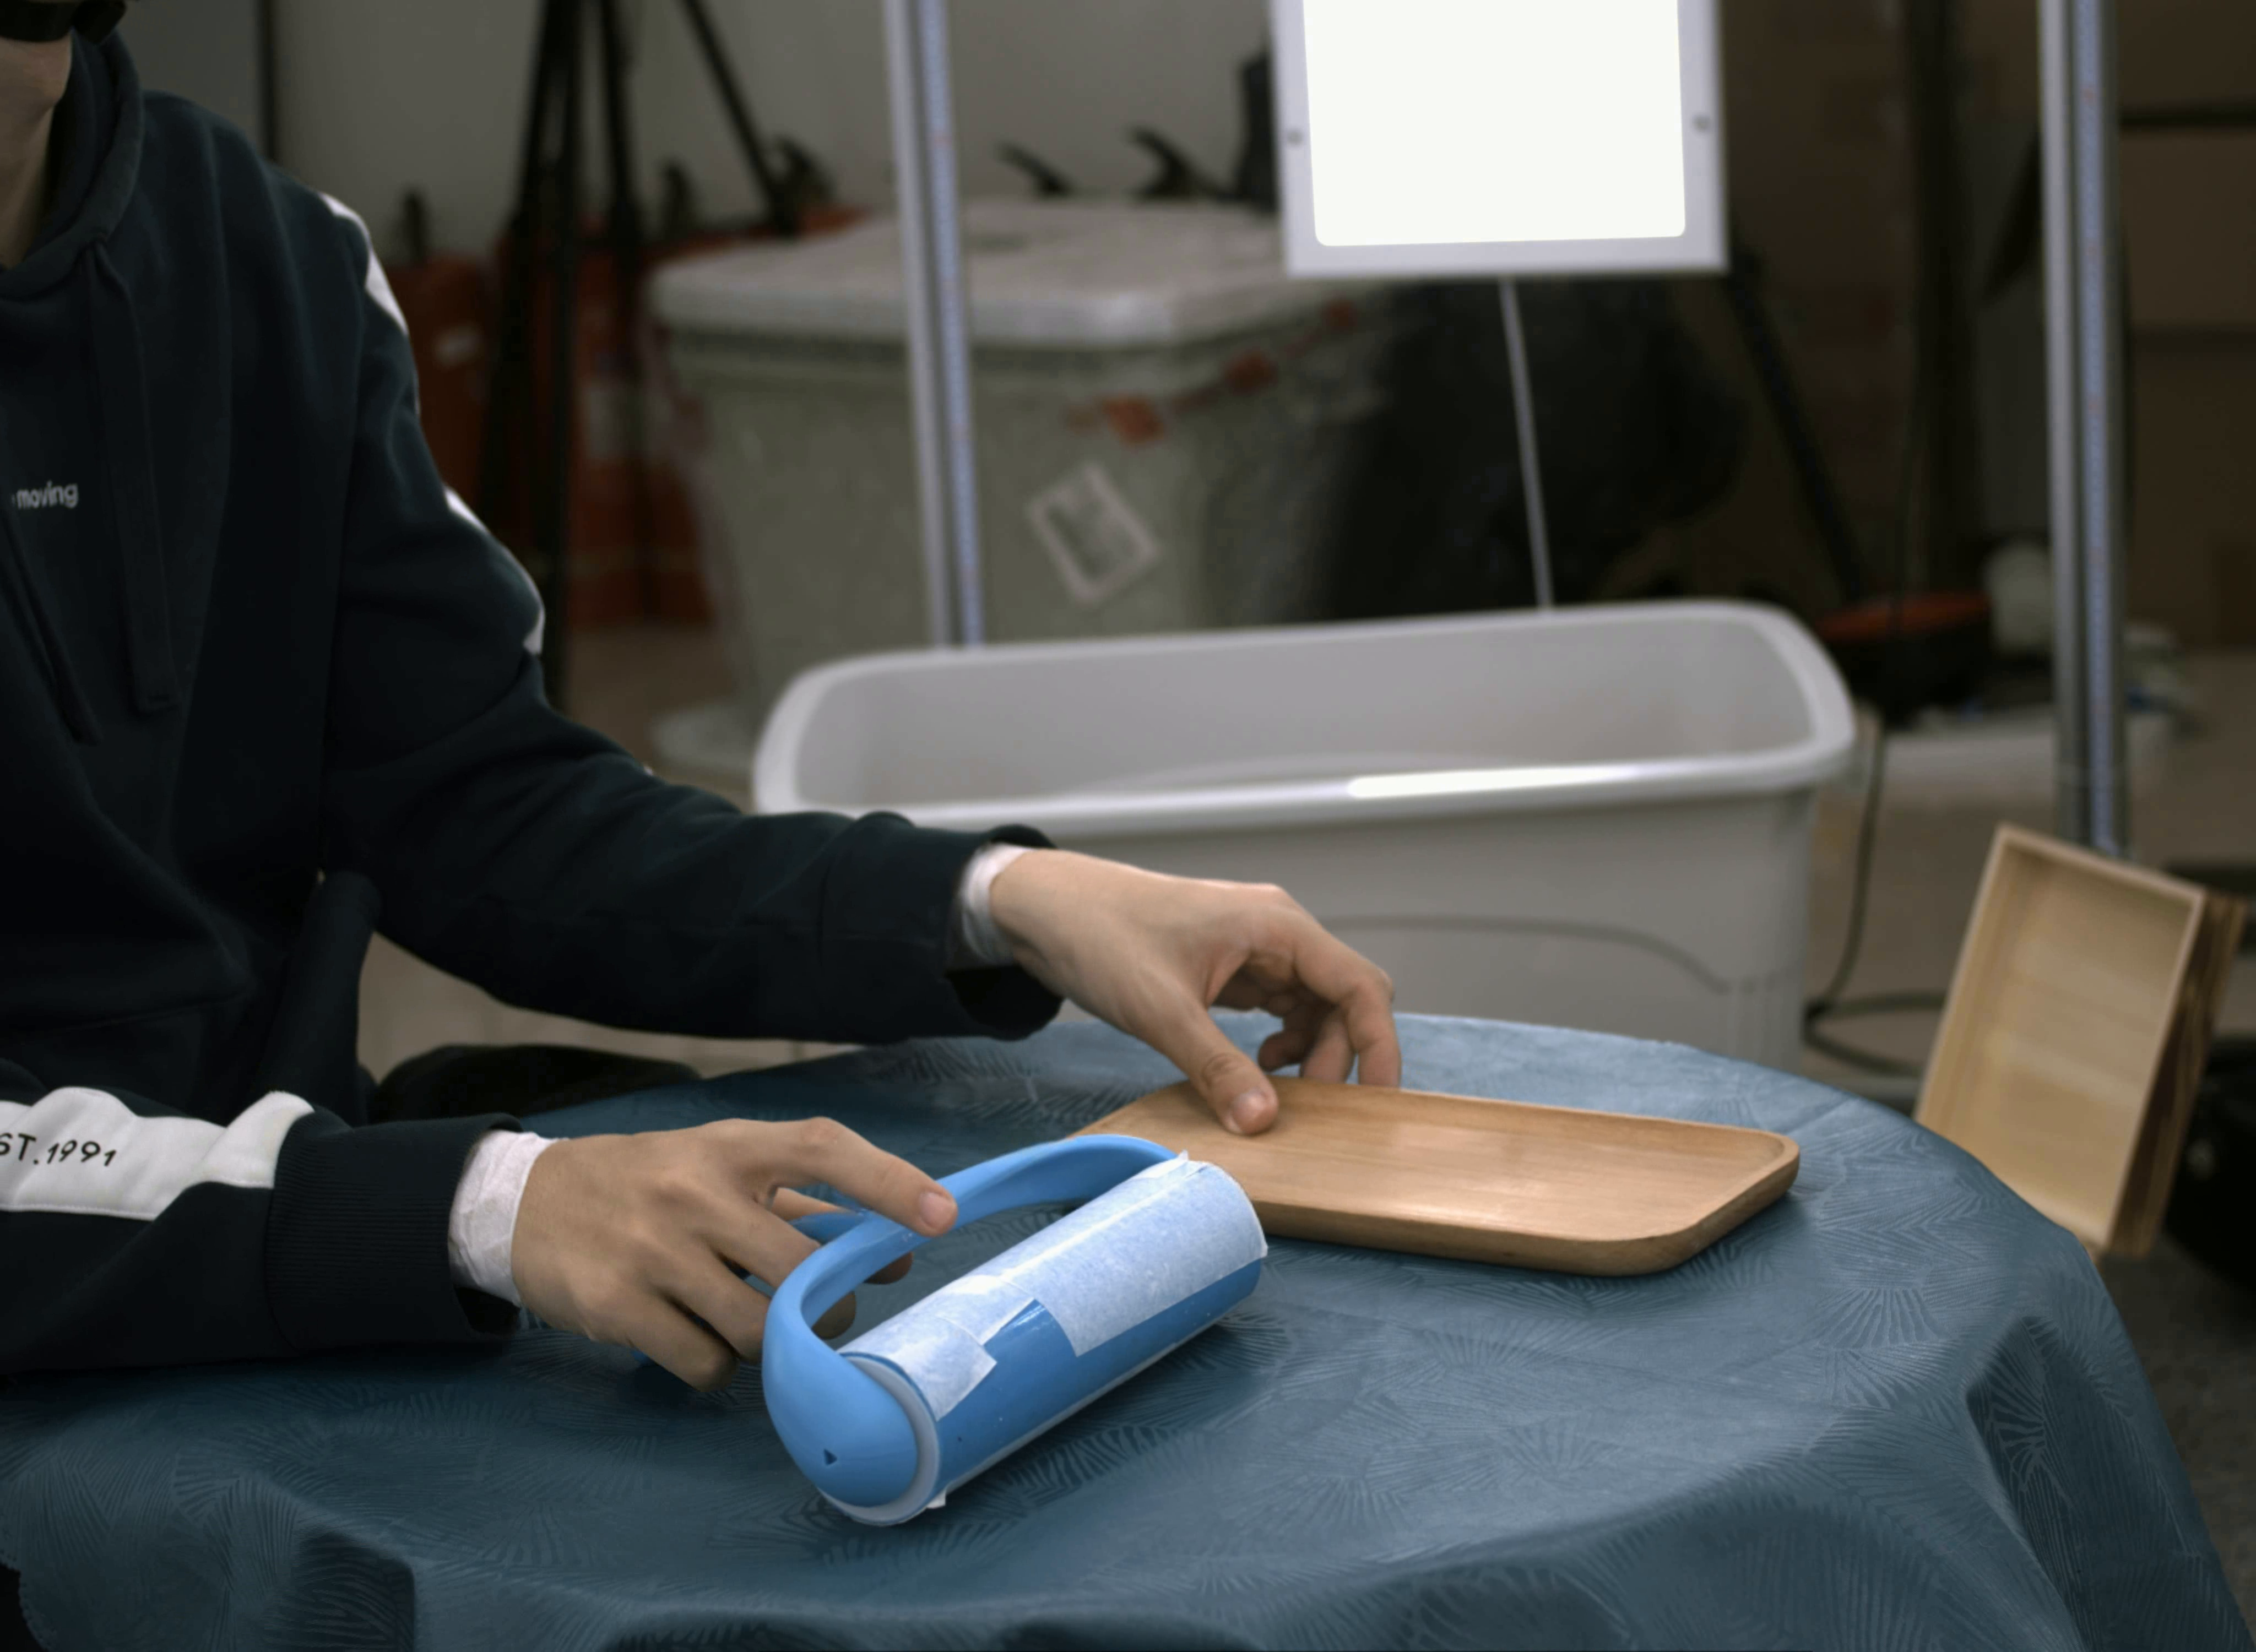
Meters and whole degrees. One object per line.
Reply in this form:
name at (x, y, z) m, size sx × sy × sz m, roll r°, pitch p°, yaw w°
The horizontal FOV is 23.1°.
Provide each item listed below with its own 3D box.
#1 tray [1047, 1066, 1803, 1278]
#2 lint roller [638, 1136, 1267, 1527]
tray at (0.099, 0.116, 1.865) m, size 0.256 × 0.023 × 0.127 m, roll 4°, pitch 15°, yaw 35°
lint roller at (-0.079, 0.150, 1.707) m, size 0.183 × 0.068 × 0.224 m, roll 4°, pitch 18°, yaw 29°
